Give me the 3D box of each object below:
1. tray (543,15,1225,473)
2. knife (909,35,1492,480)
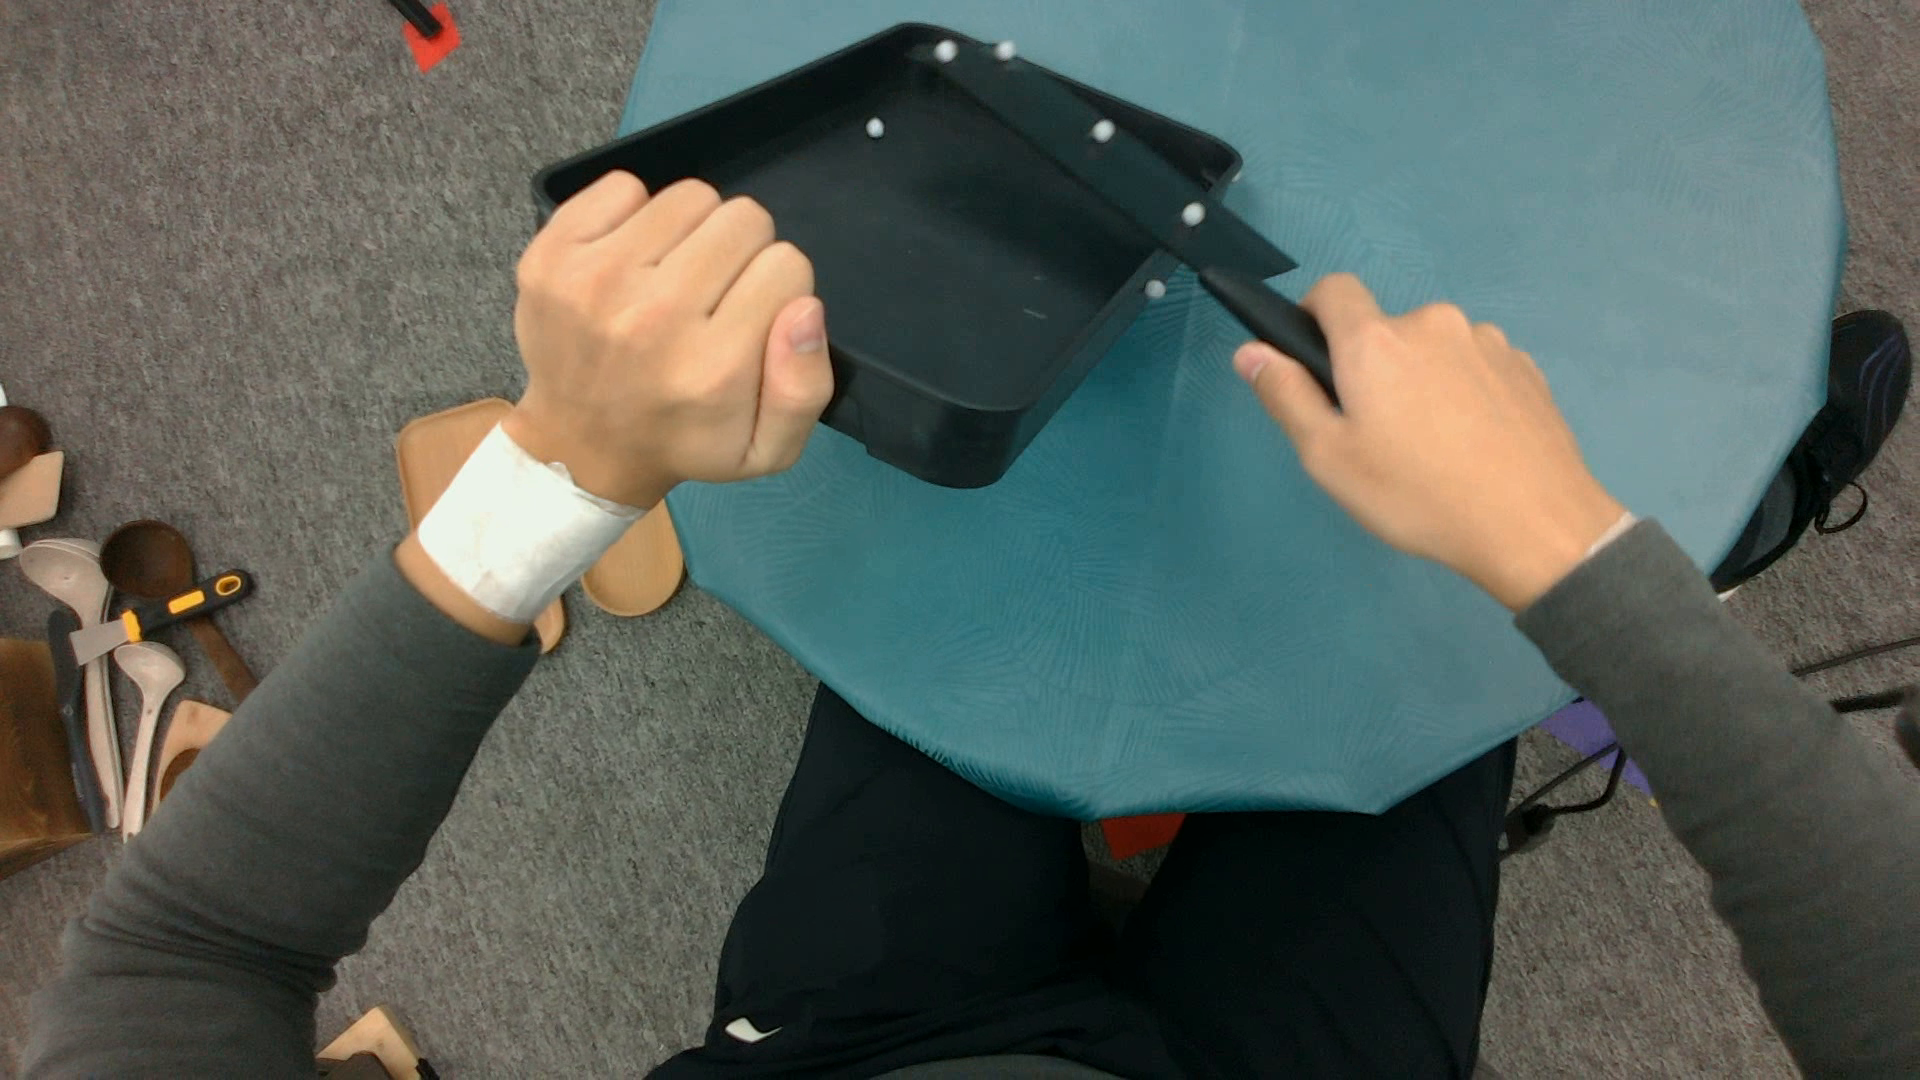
[{"bbox_3d":[-0.009,-0.141,0.564,0.184,0.319,0.037,24,126,9],"label":"tray"},{"bbox_3d":[0.094,-0.128,0.566,0.302,0.081,0.021,47,133,24],"label":"knife"}]
